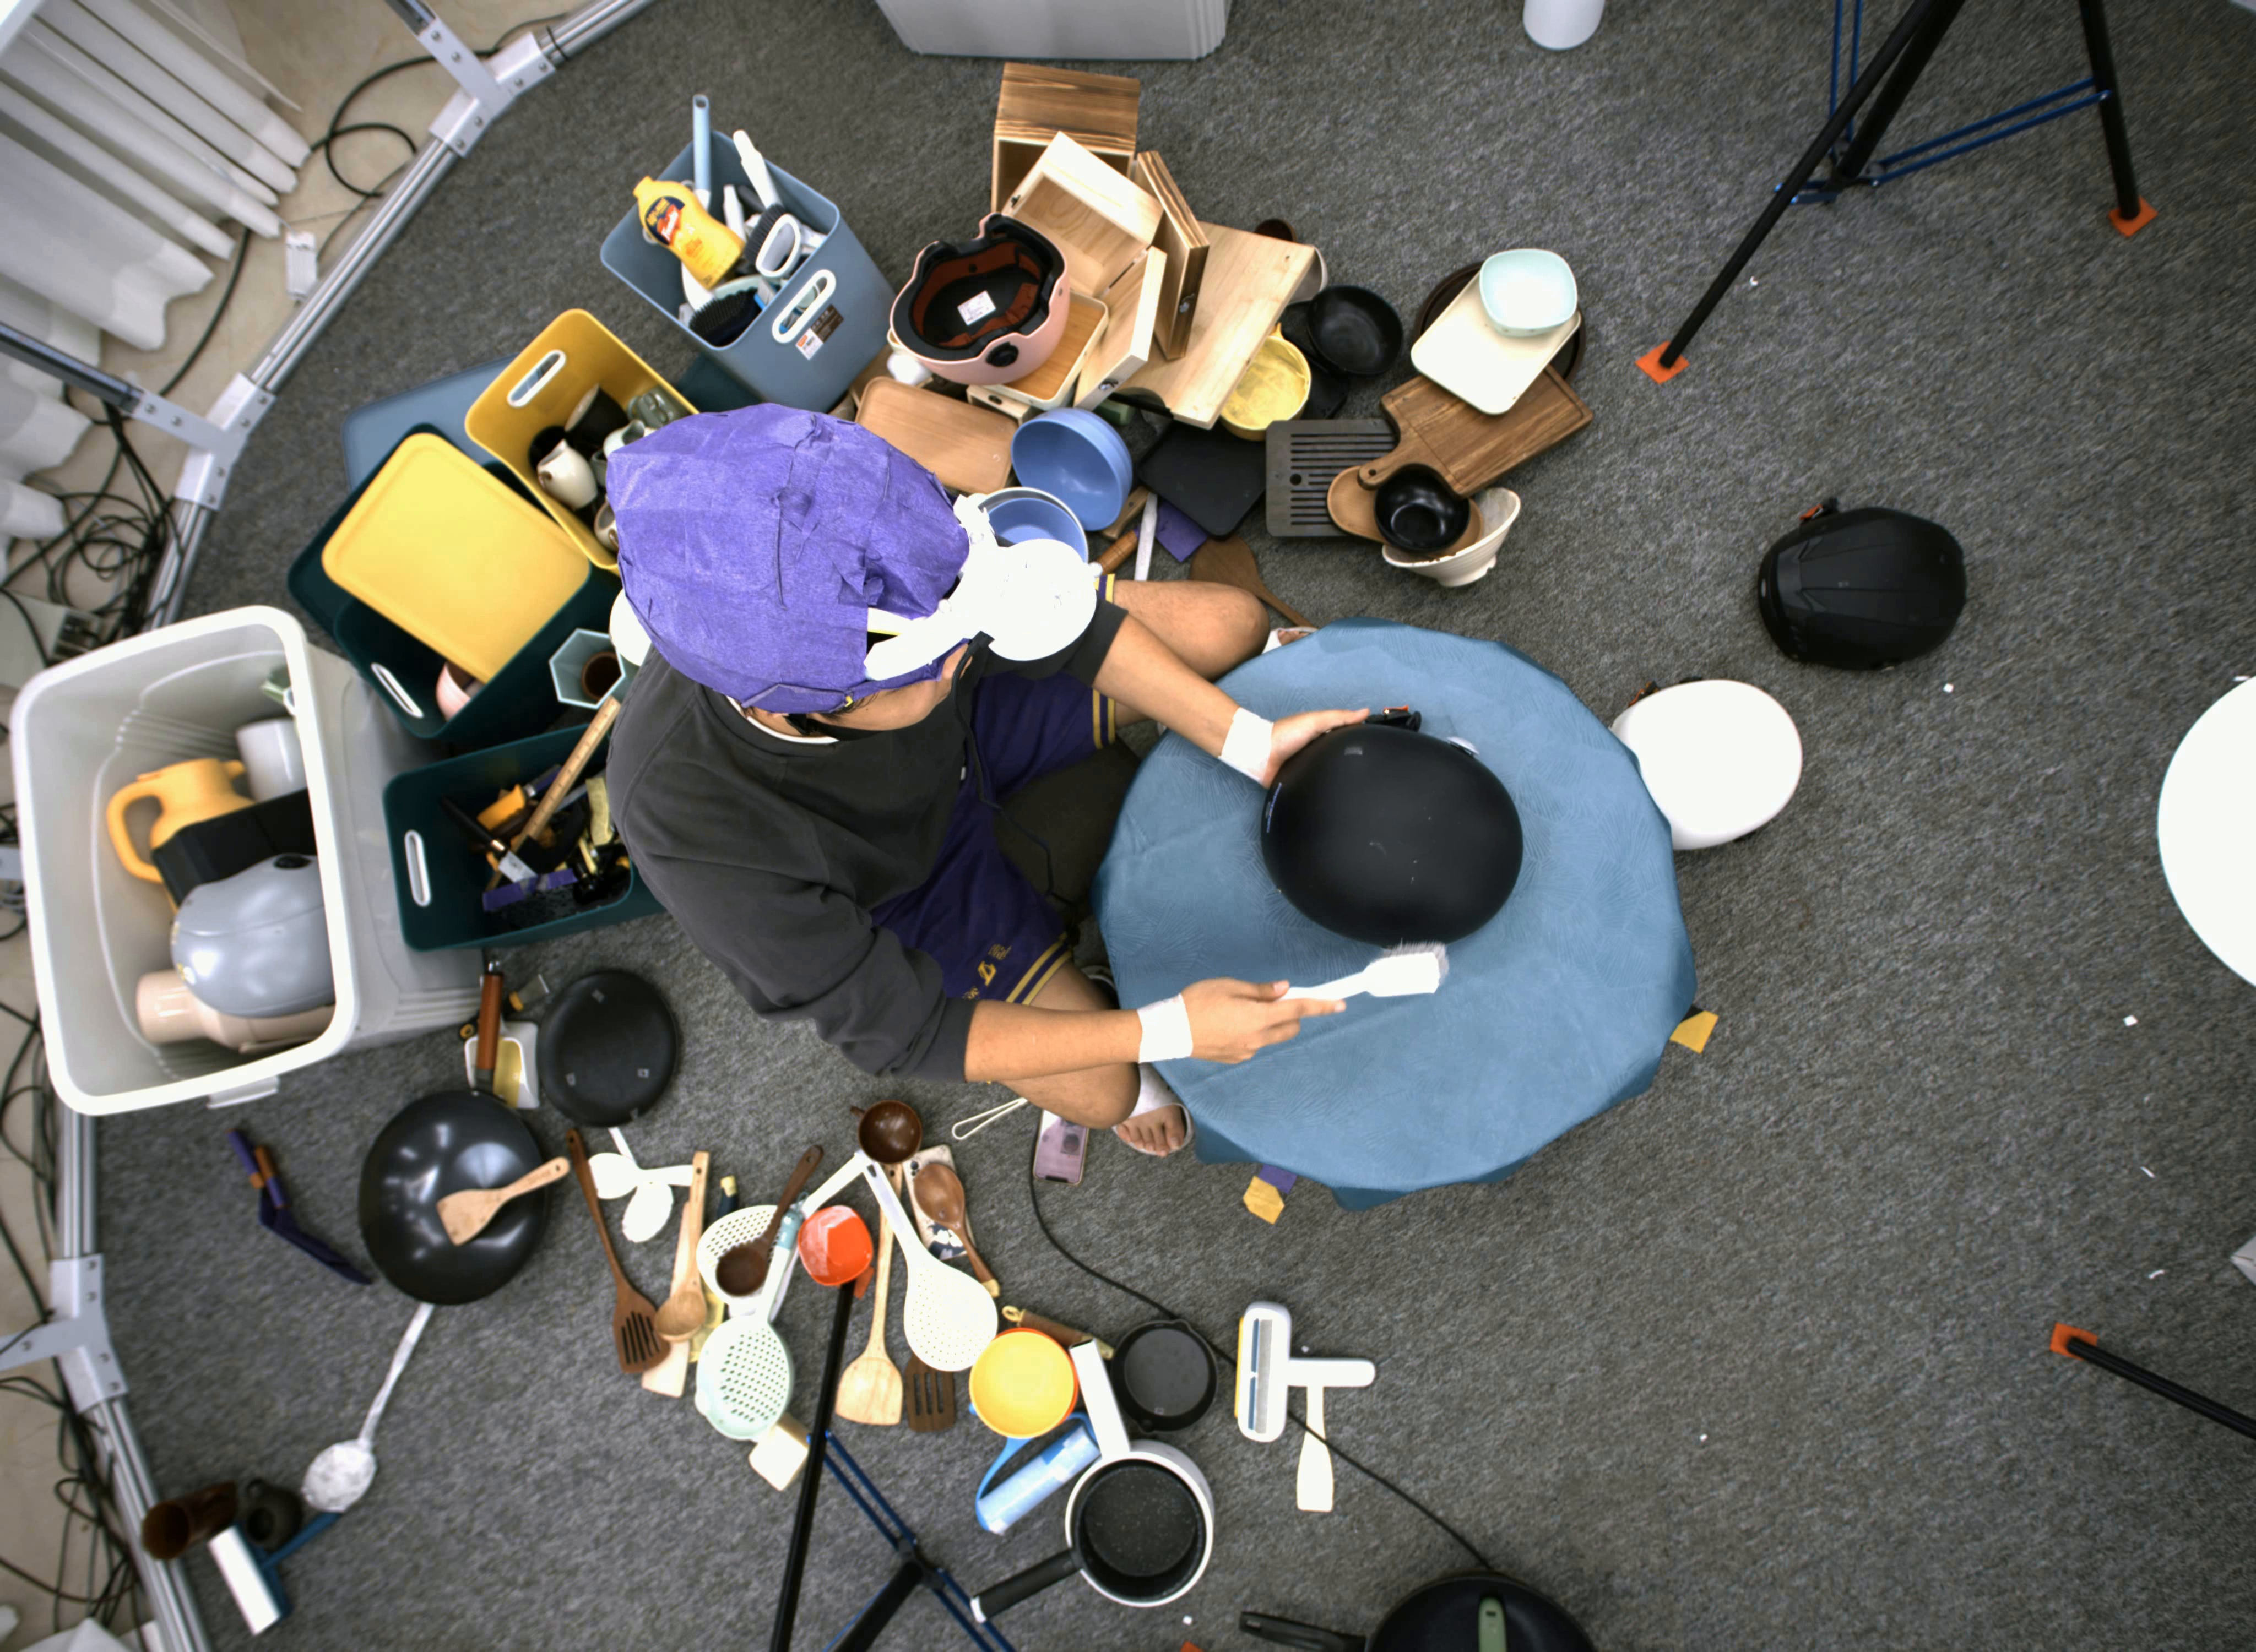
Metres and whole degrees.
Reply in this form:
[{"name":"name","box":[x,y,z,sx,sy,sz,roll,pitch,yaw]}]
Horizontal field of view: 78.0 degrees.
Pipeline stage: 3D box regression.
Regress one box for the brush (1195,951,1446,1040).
[{"name":"brush","box":[0.183,0.161,1.328,0.246,0.049,0.035,-15,107,17]}]

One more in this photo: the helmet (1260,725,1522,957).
[{"name":"helmet","box":[0.265,0.015,1.374,0.273,0.165,0.232,19,99,6]}]
